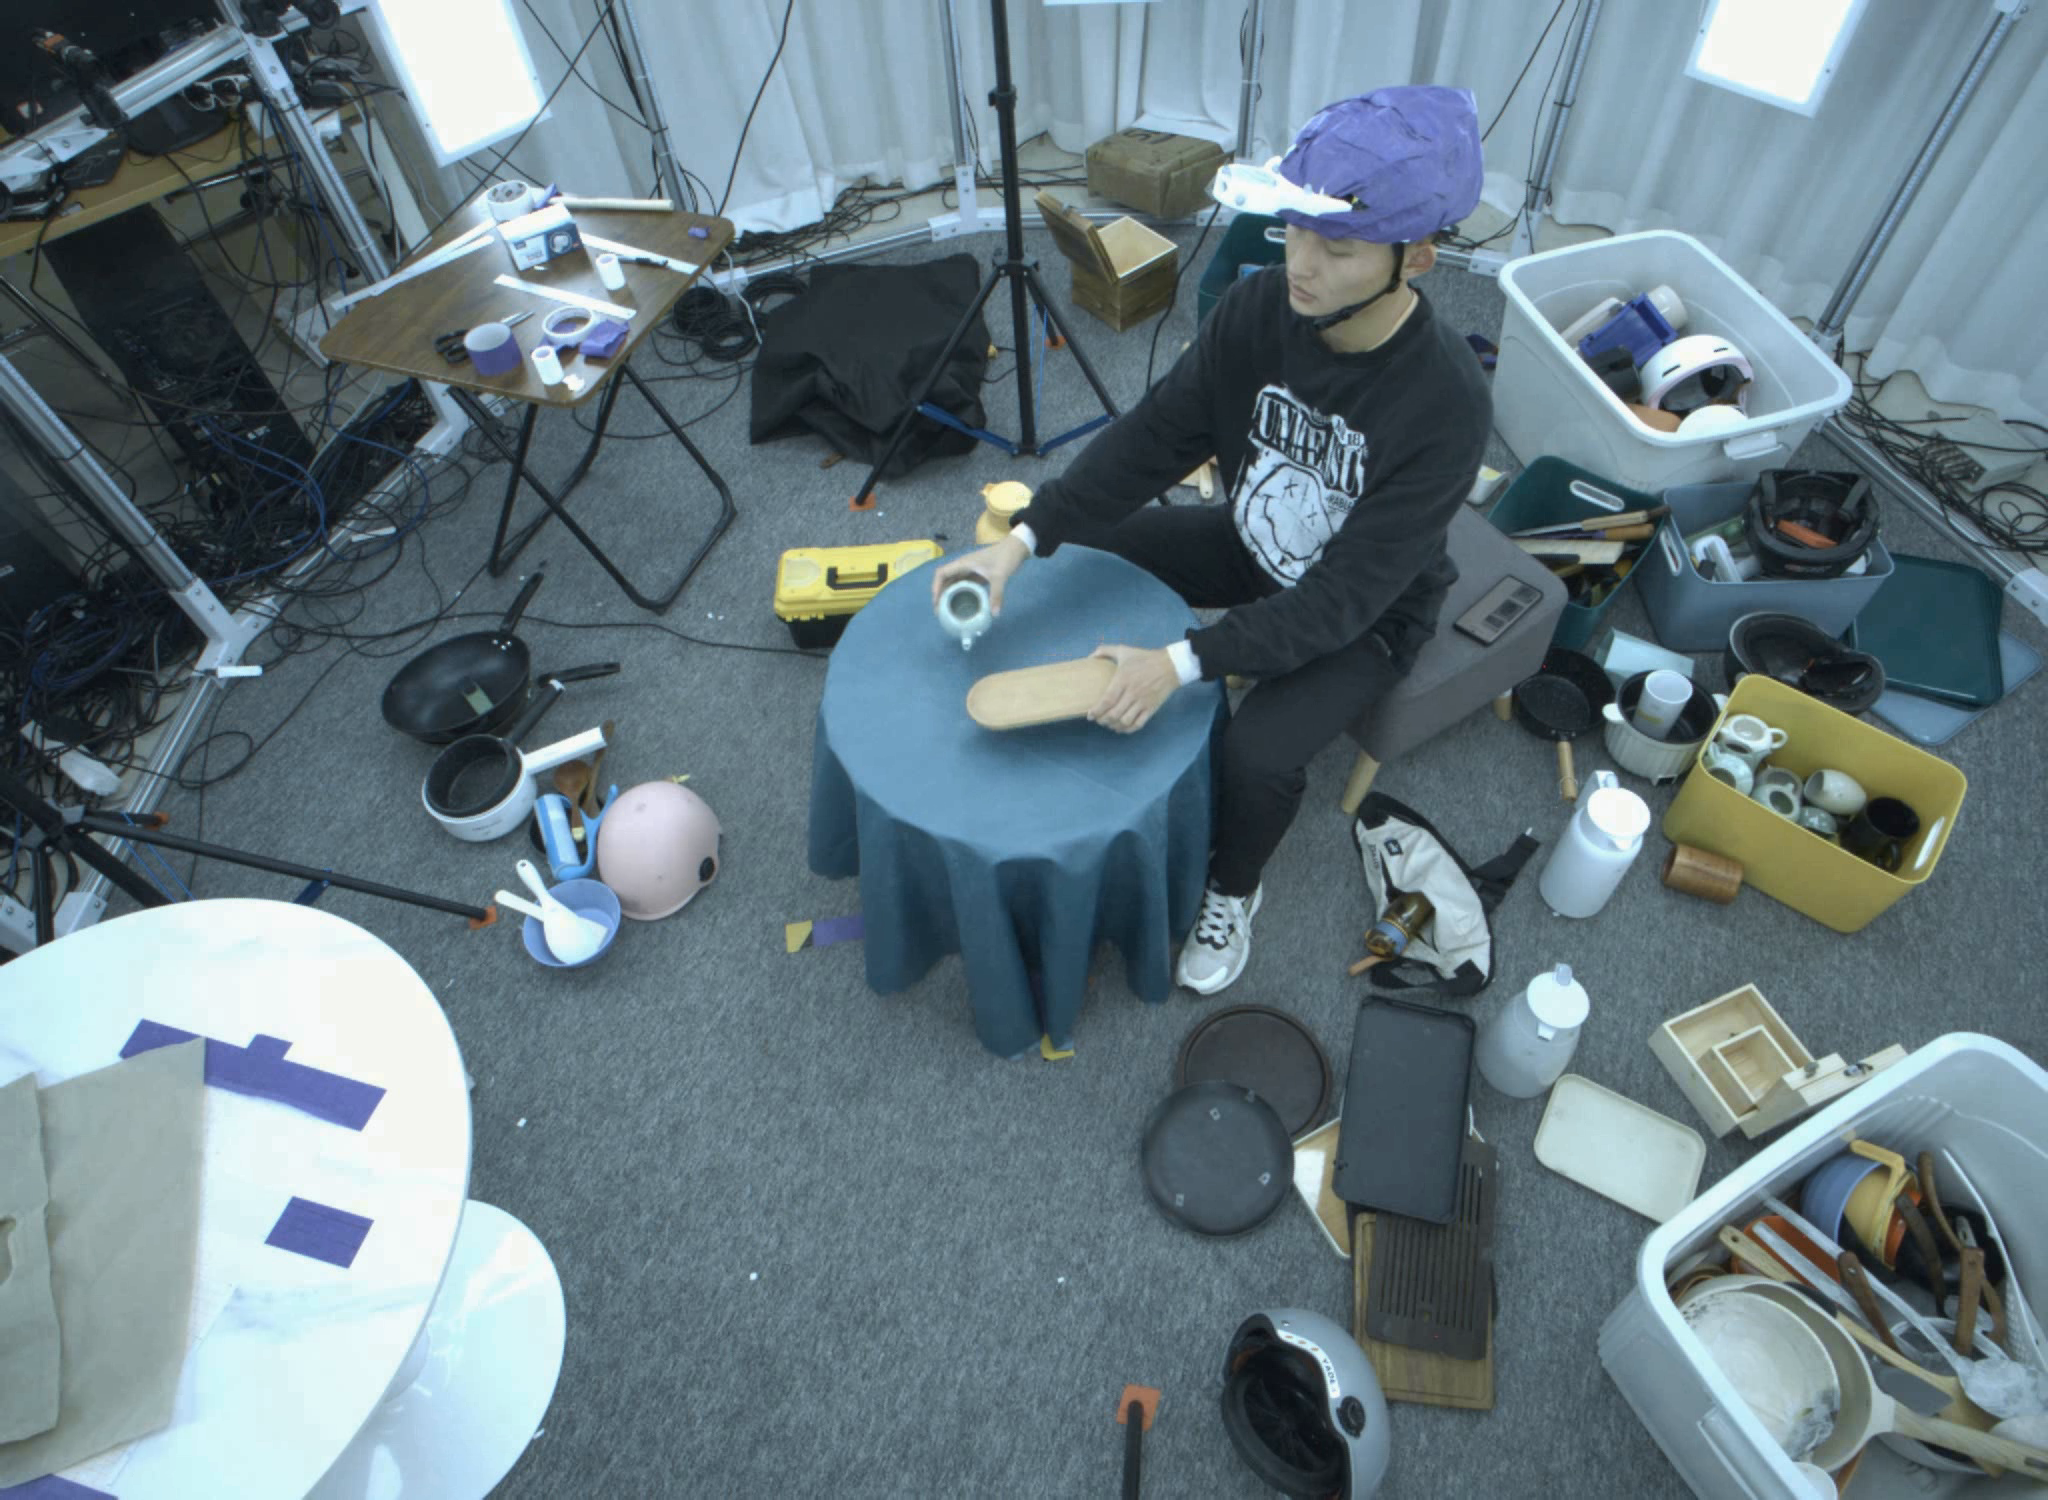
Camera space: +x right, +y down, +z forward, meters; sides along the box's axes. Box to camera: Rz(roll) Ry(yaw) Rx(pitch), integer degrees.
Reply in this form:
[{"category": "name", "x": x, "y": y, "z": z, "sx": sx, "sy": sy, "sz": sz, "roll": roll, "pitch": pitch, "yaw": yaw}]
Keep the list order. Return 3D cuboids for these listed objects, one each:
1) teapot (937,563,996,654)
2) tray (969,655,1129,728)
[{"category": "teapot", "x": -0.086, "y": -0.202, "z": 1.826, "sx": 0.088, "sy": 0.075, "sz": 0.143, "roll": -3, "pitch": 78, "yaw": 0}, {"category": "tray", "x": 0.035, "y": -0.083, "z": 1.763, "sx": 0.231, "sy": 0.020, "sz": 0.100, "roll": -9, "pitch": 54, "yaw": -1}]
